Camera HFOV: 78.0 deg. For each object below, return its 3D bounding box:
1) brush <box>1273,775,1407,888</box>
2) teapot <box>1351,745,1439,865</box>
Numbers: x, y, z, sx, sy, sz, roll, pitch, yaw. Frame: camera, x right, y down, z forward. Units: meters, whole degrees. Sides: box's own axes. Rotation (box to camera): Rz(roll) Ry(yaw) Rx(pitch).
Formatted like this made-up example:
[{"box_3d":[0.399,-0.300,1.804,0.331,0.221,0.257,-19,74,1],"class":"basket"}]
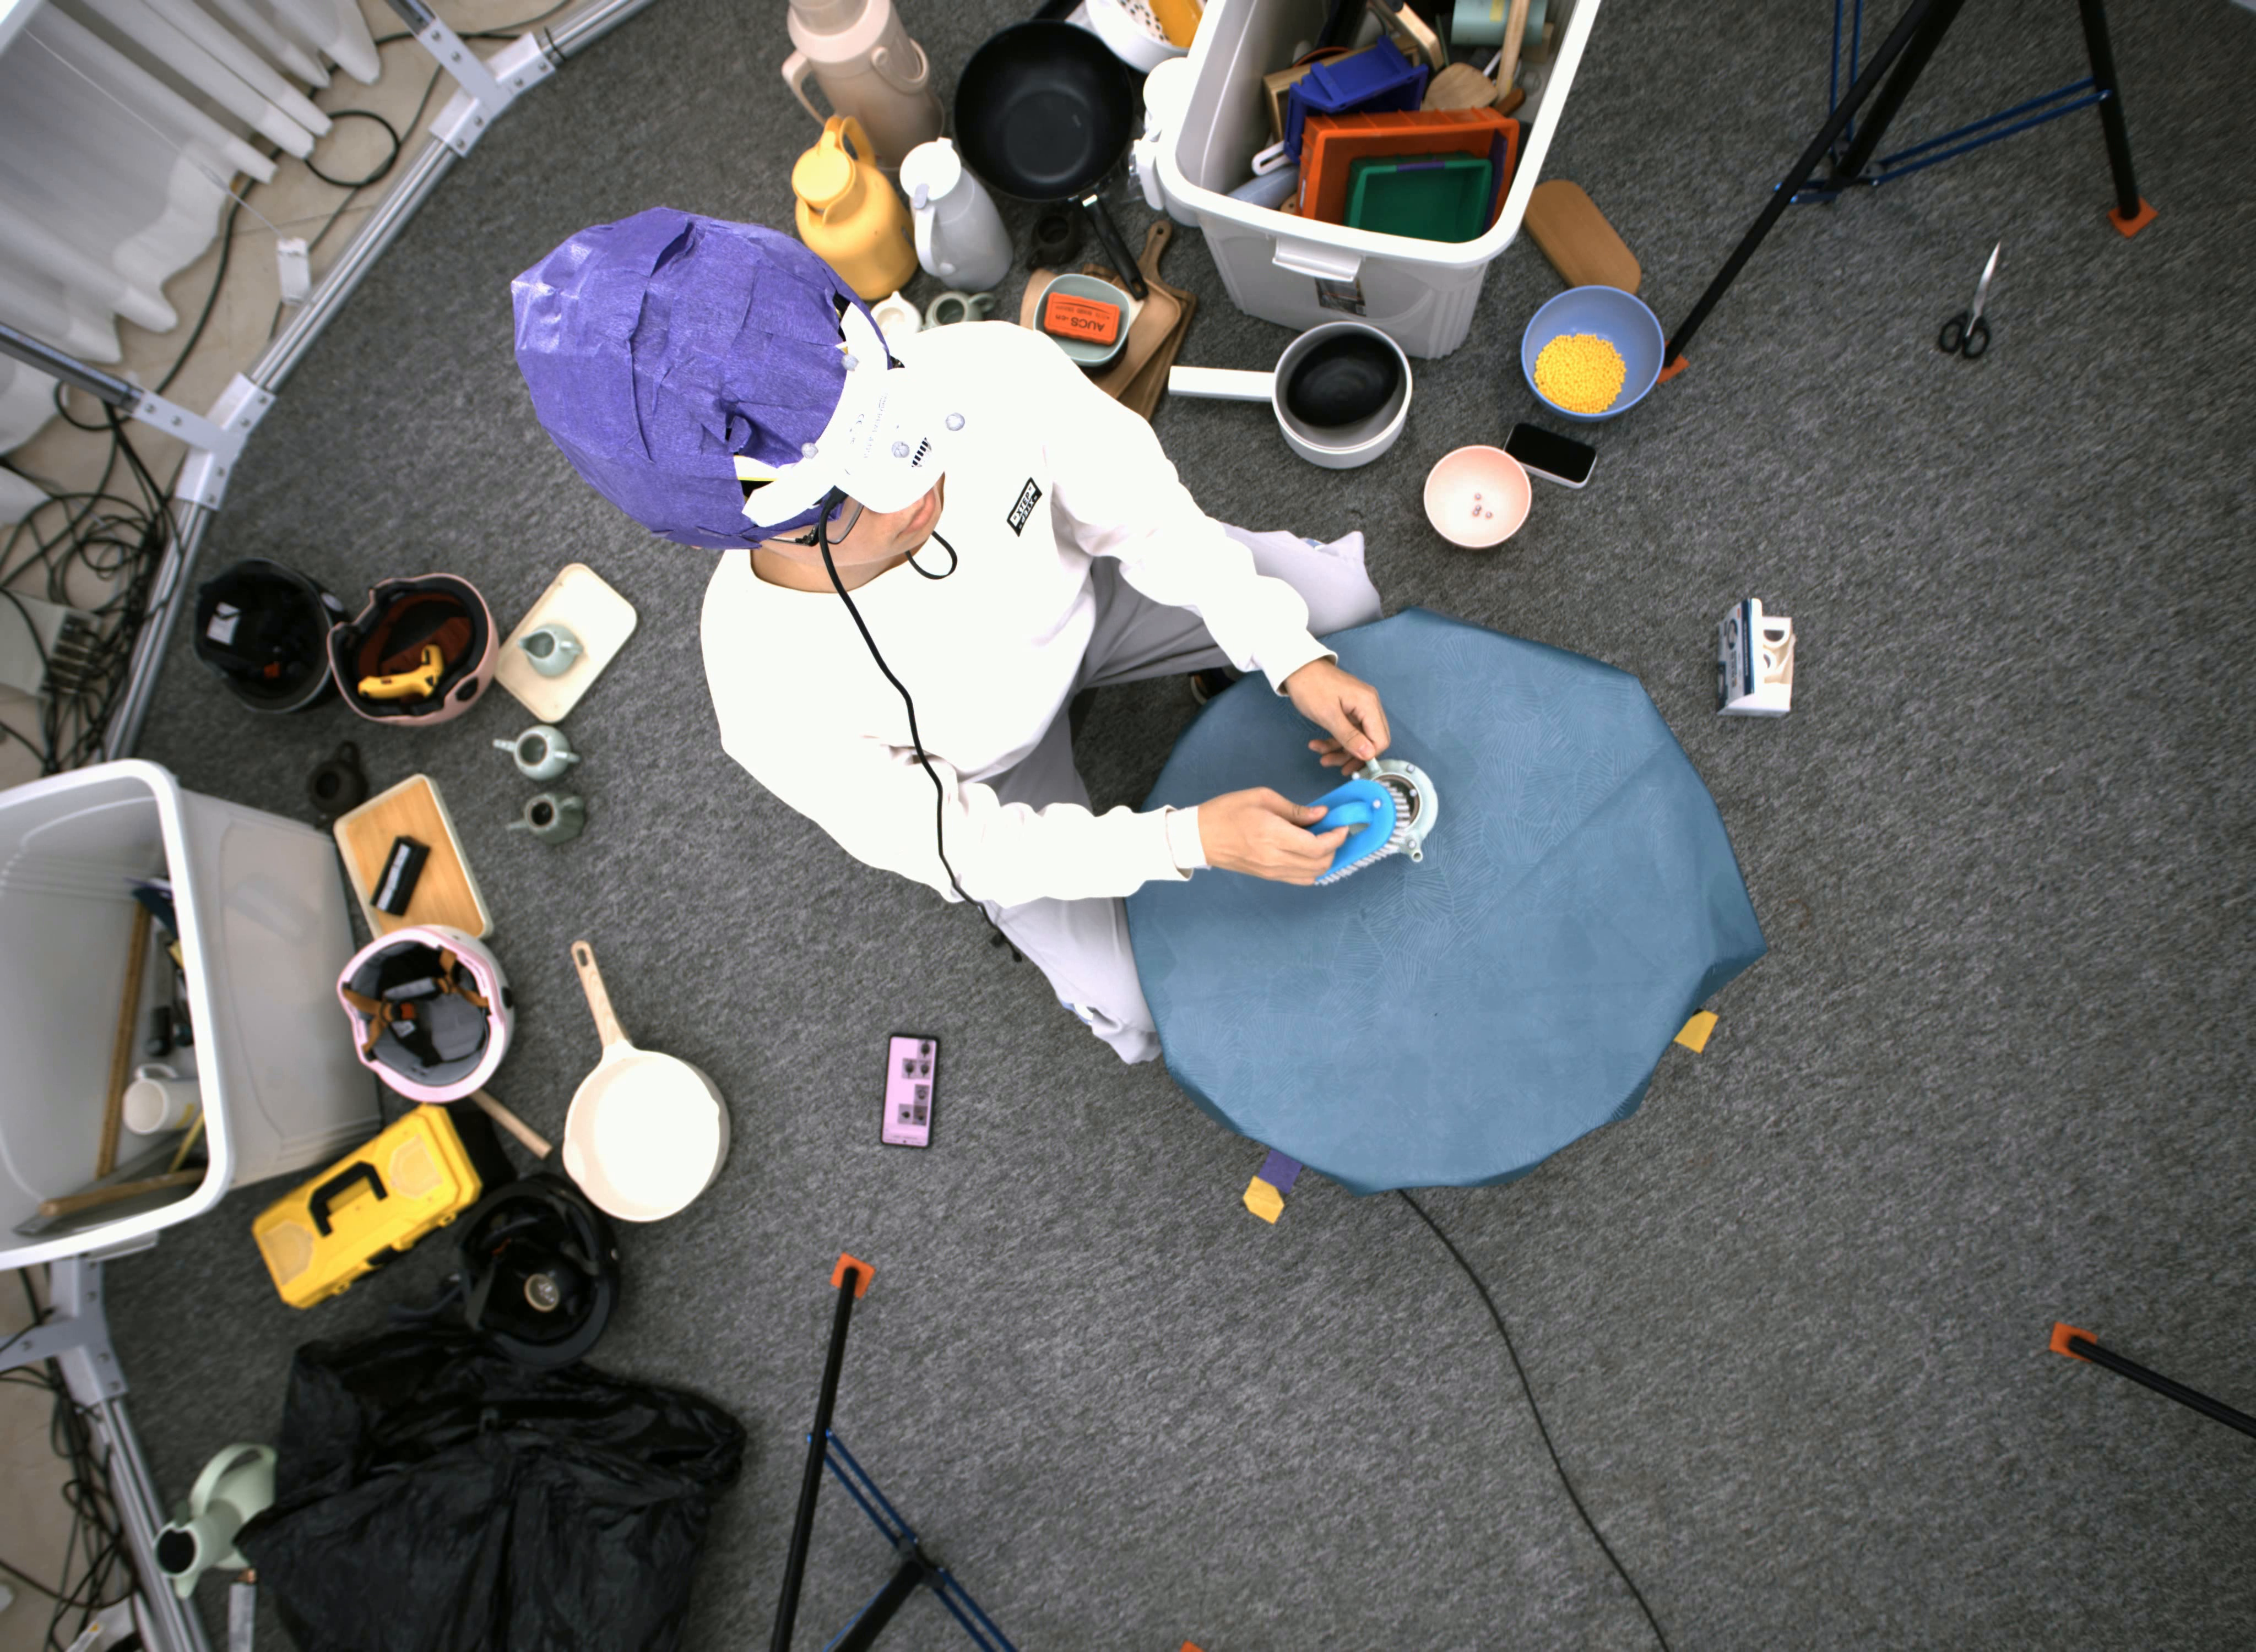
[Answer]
[{"box_3d":[0.197,0.007,1.327,0.144,0.063,0.083,-31,74,37],"class":"brush"},{"box_3d":[0.263,-0.022,1.395,0.097,0.061,0.136,-29,83,13],"class":"teapot"}]
